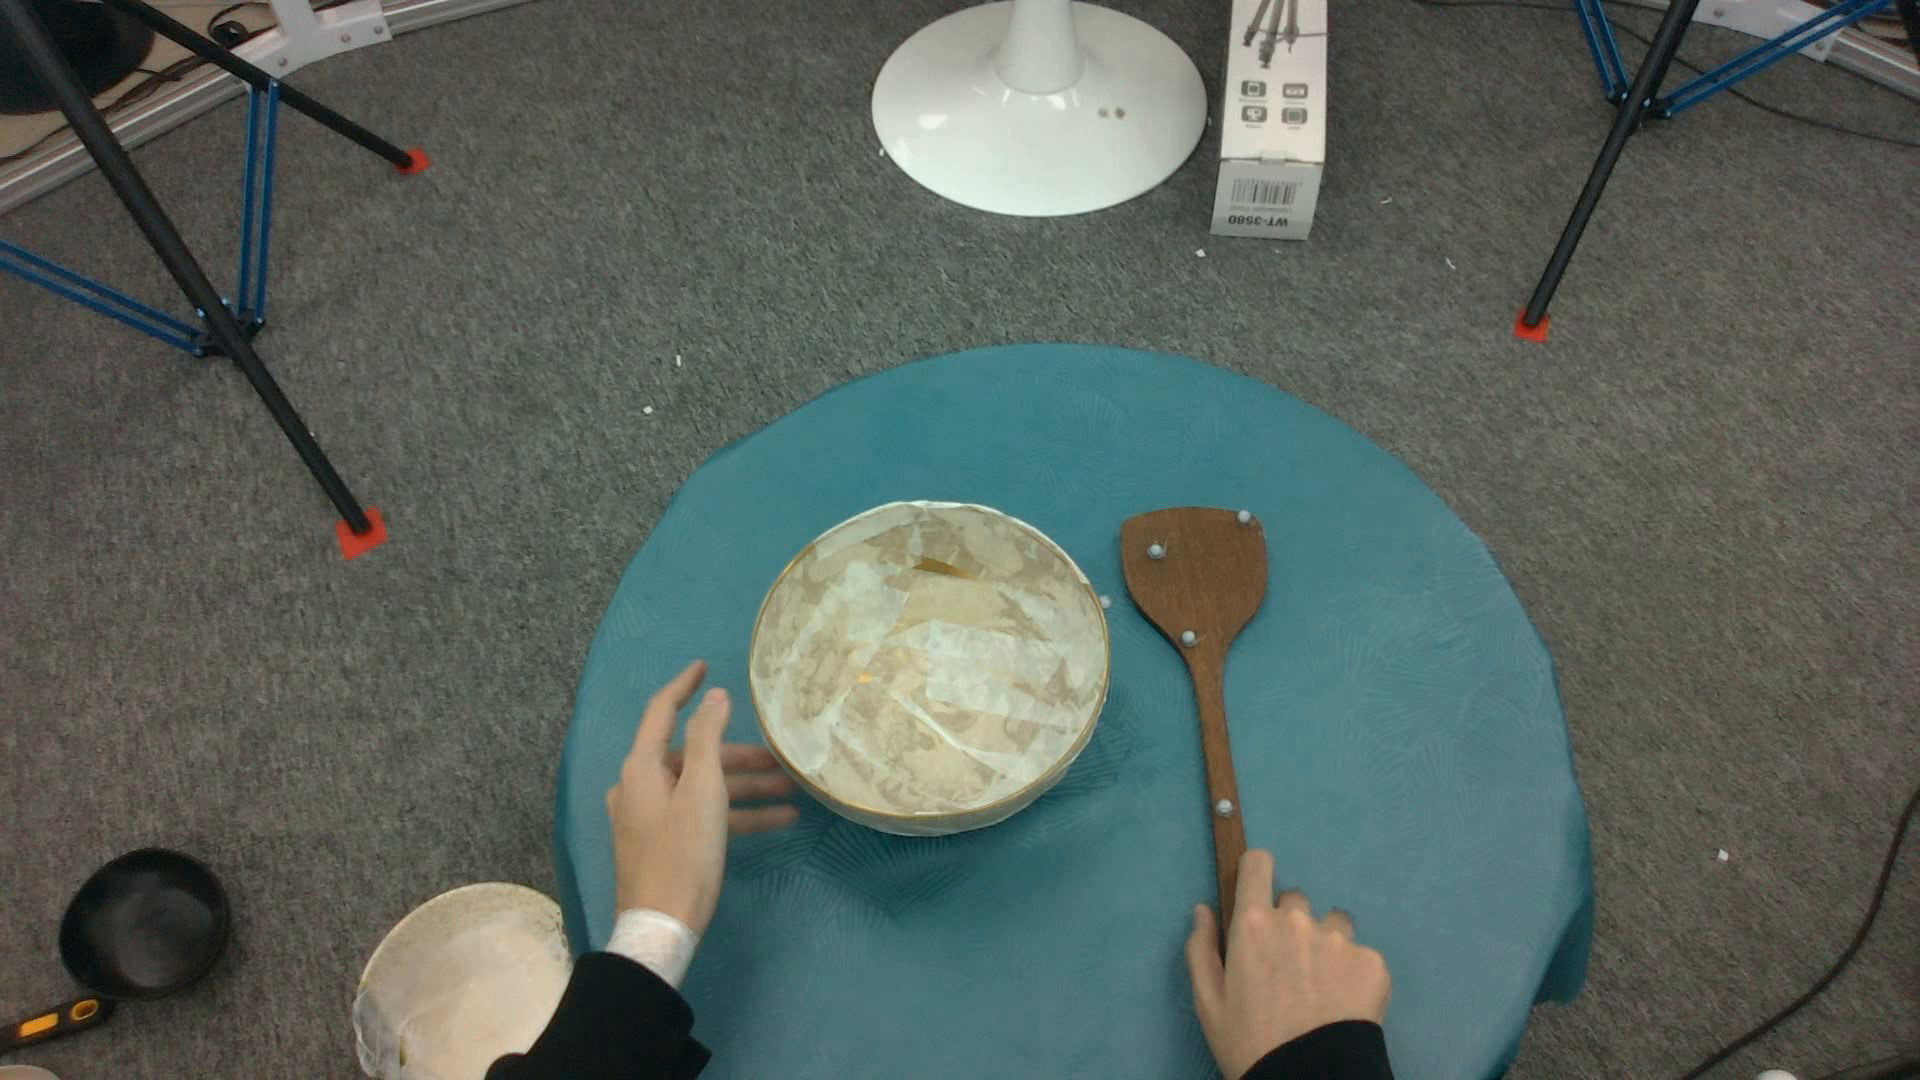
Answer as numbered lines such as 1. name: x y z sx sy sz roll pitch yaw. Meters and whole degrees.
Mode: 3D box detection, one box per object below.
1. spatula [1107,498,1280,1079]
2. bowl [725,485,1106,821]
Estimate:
1. spatula: 0.145 0.133 0.797 0.096 0.016 0.387 -1 55 0
2. bowl: -0.026 0.078 0.787 0.215 0.094 0.215 1 56 -1
